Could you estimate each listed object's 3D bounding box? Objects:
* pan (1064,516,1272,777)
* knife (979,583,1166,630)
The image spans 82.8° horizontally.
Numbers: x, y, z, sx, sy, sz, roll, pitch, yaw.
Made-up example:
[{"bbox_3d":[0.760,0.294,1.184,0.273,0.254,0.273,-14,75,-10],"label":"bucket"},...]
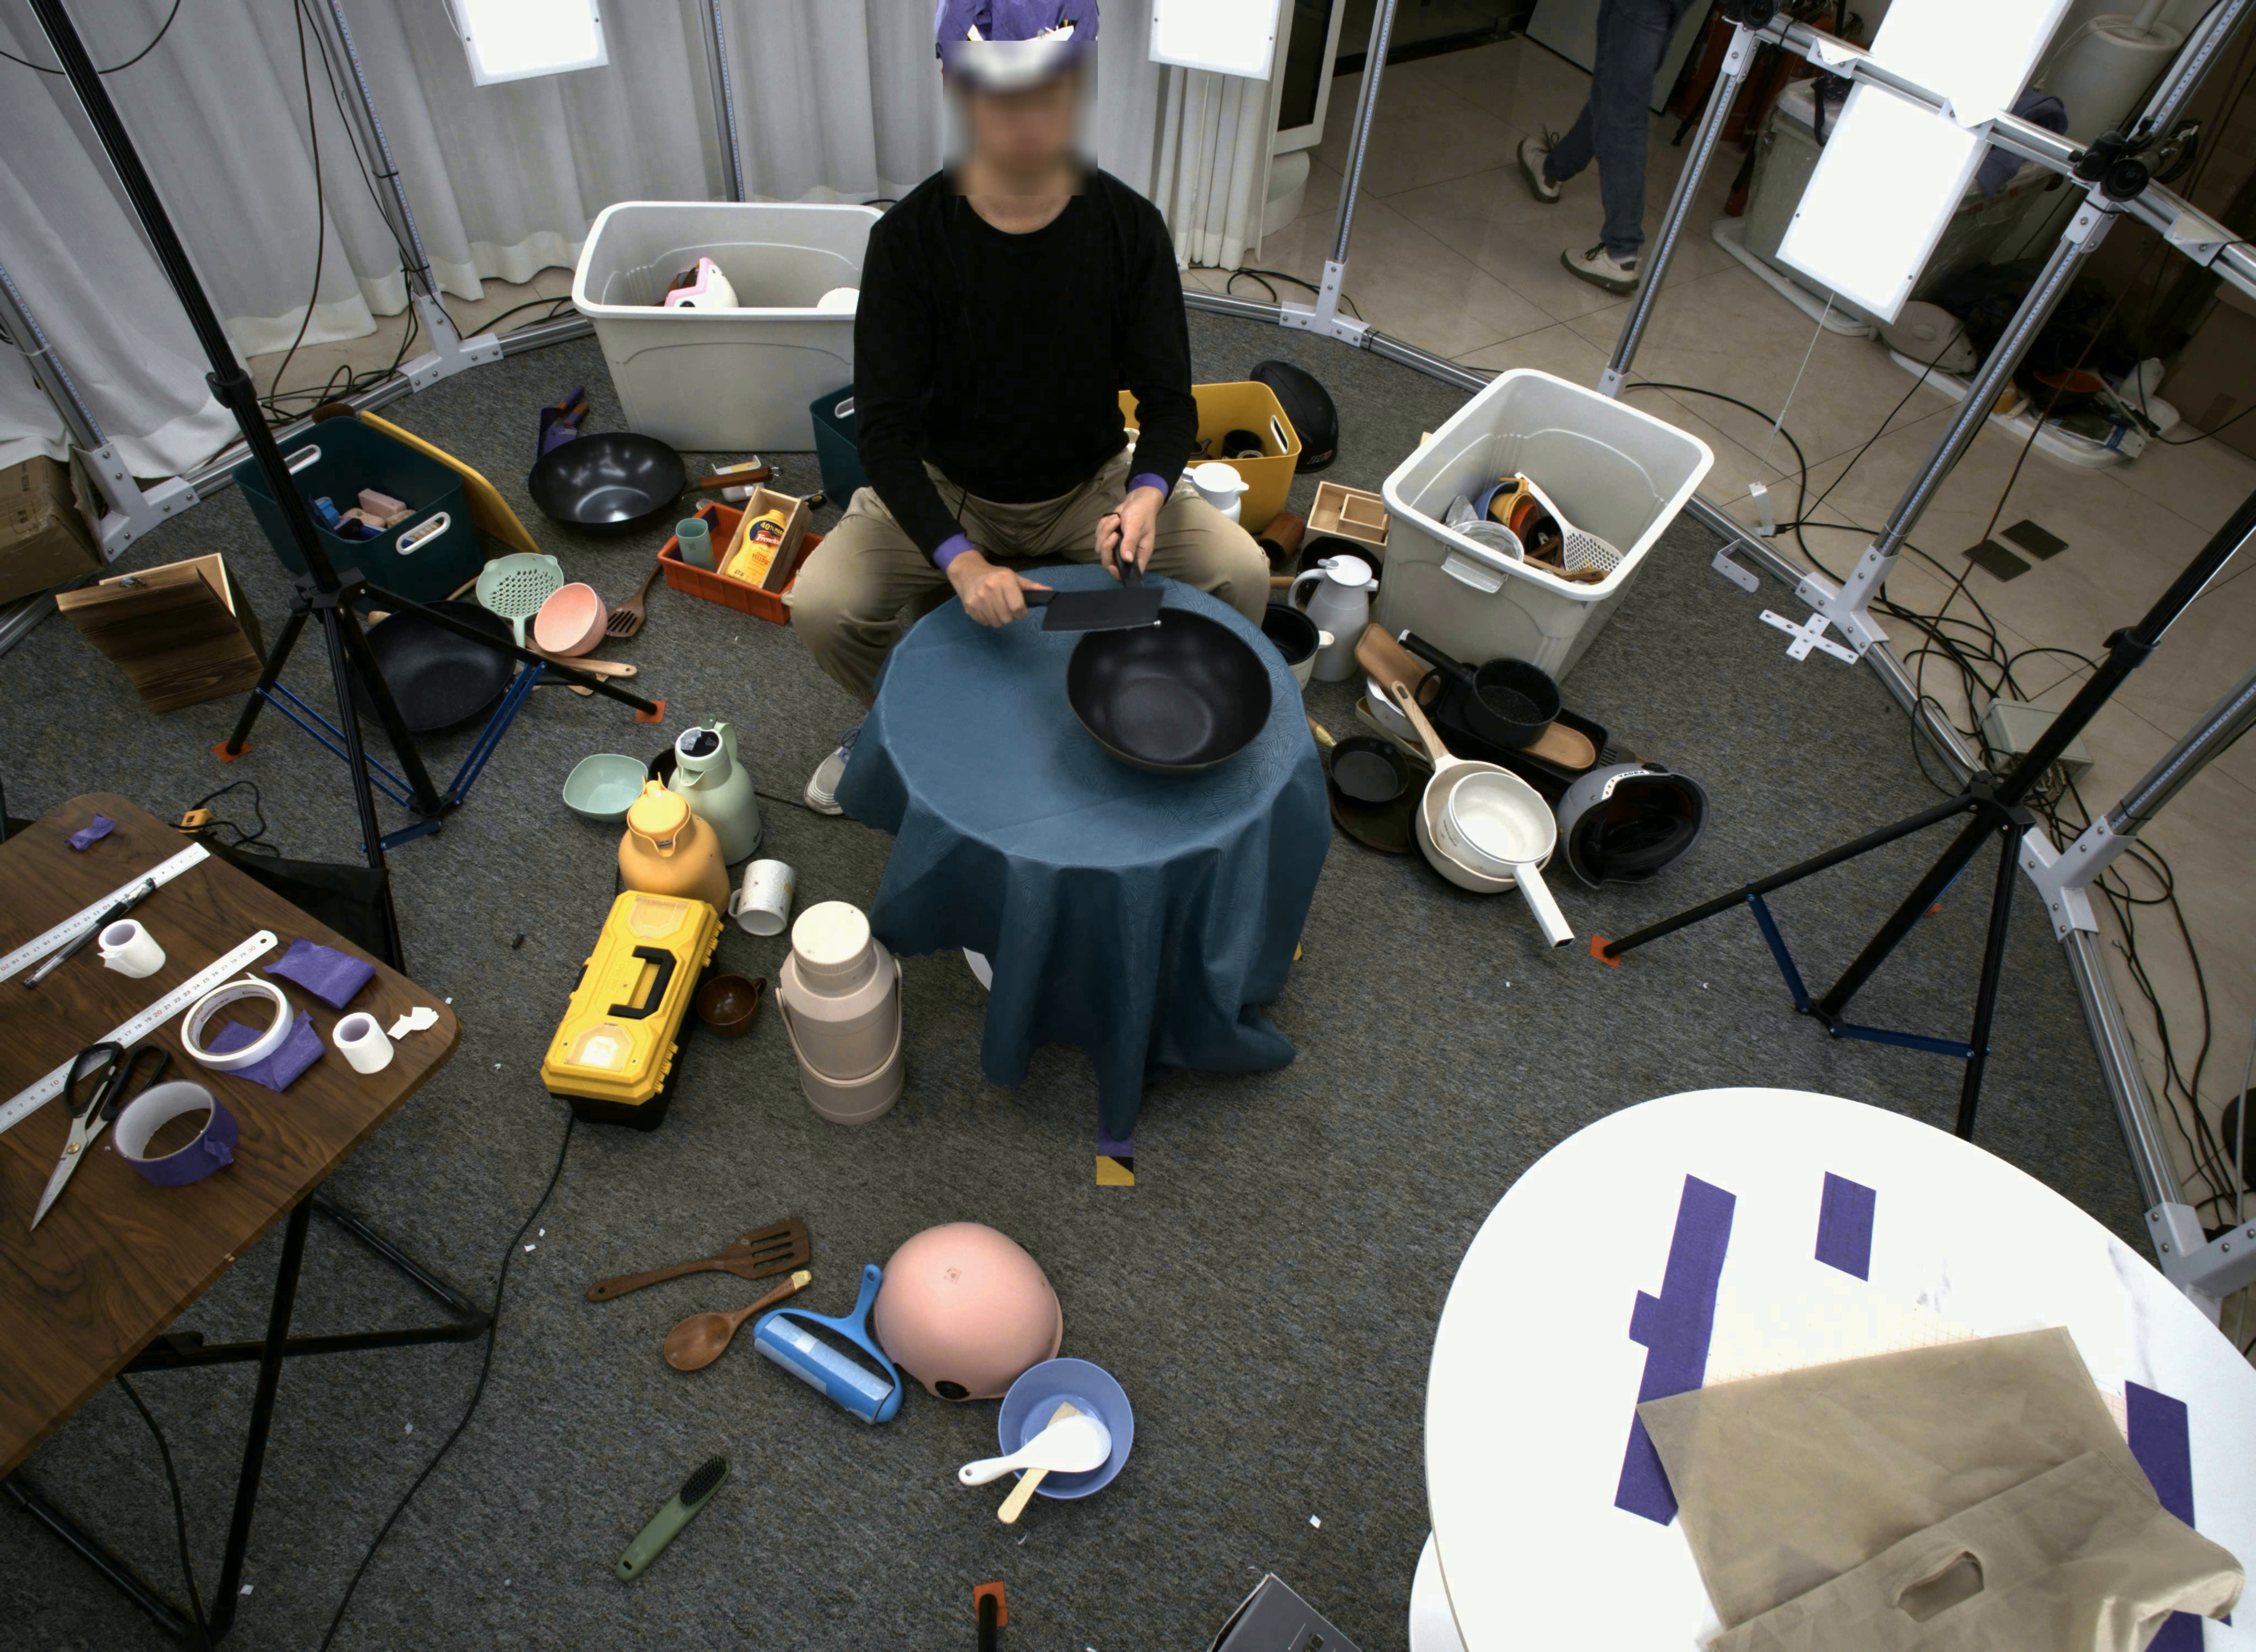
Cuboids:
[{"bbox_3d":[0.028,-0.245,1.804,0.288,0.085,0.474,-8,57,-14],"label":"pan"},{"bbox_3d":[-0.082,-0.305,1.784,0.304,0.020,0.082,7,66,33],"label":"knife"}]
